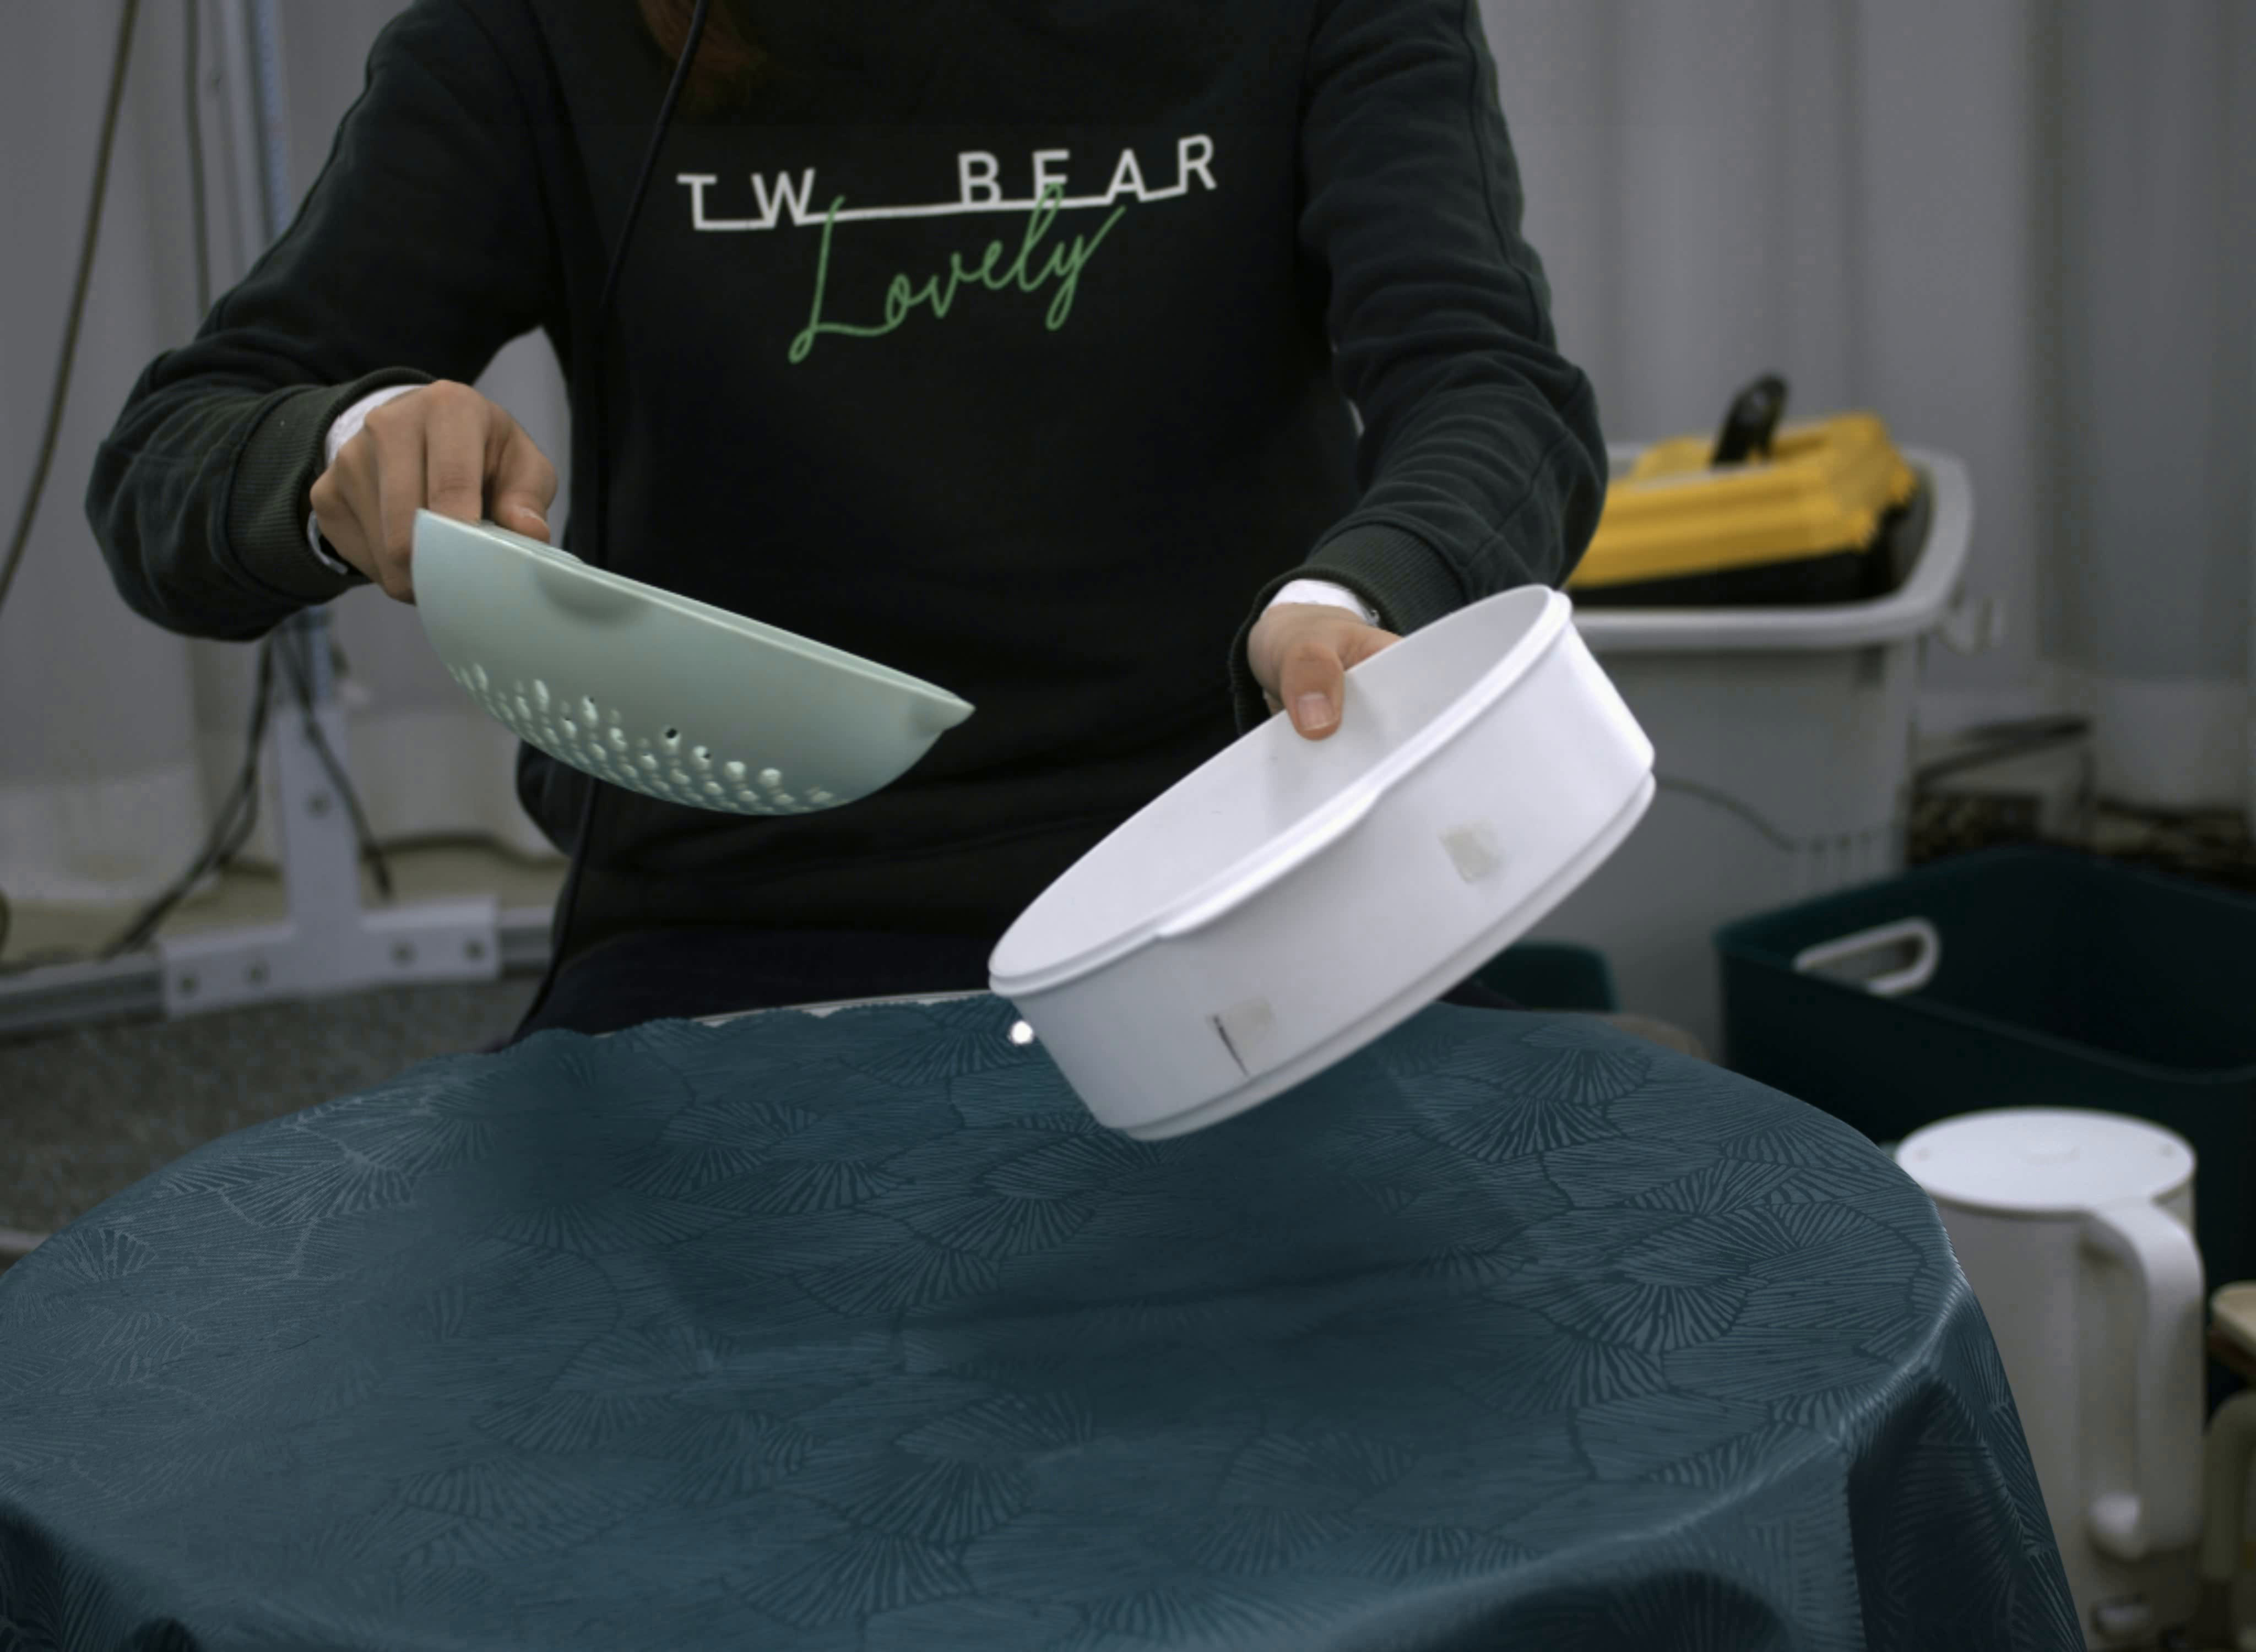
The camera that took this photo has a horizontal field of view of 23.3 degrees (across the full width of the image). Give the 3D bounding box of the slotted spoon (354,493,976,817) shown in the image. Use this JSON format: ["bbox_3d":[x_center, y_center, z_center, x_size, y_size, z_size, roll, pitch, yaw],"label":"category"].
[{"bbox_3d":[-0.175,-0.070,1.694,0.168,0.075,0.362,20,9,-28],"label":"slotted spoon"}]

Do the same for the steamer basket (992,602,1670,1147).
[{"bbox_3d":[0.061,0.016,1.570,0.201,0.069,0.231,-31,8,8],"label":"steamer basket"}]
